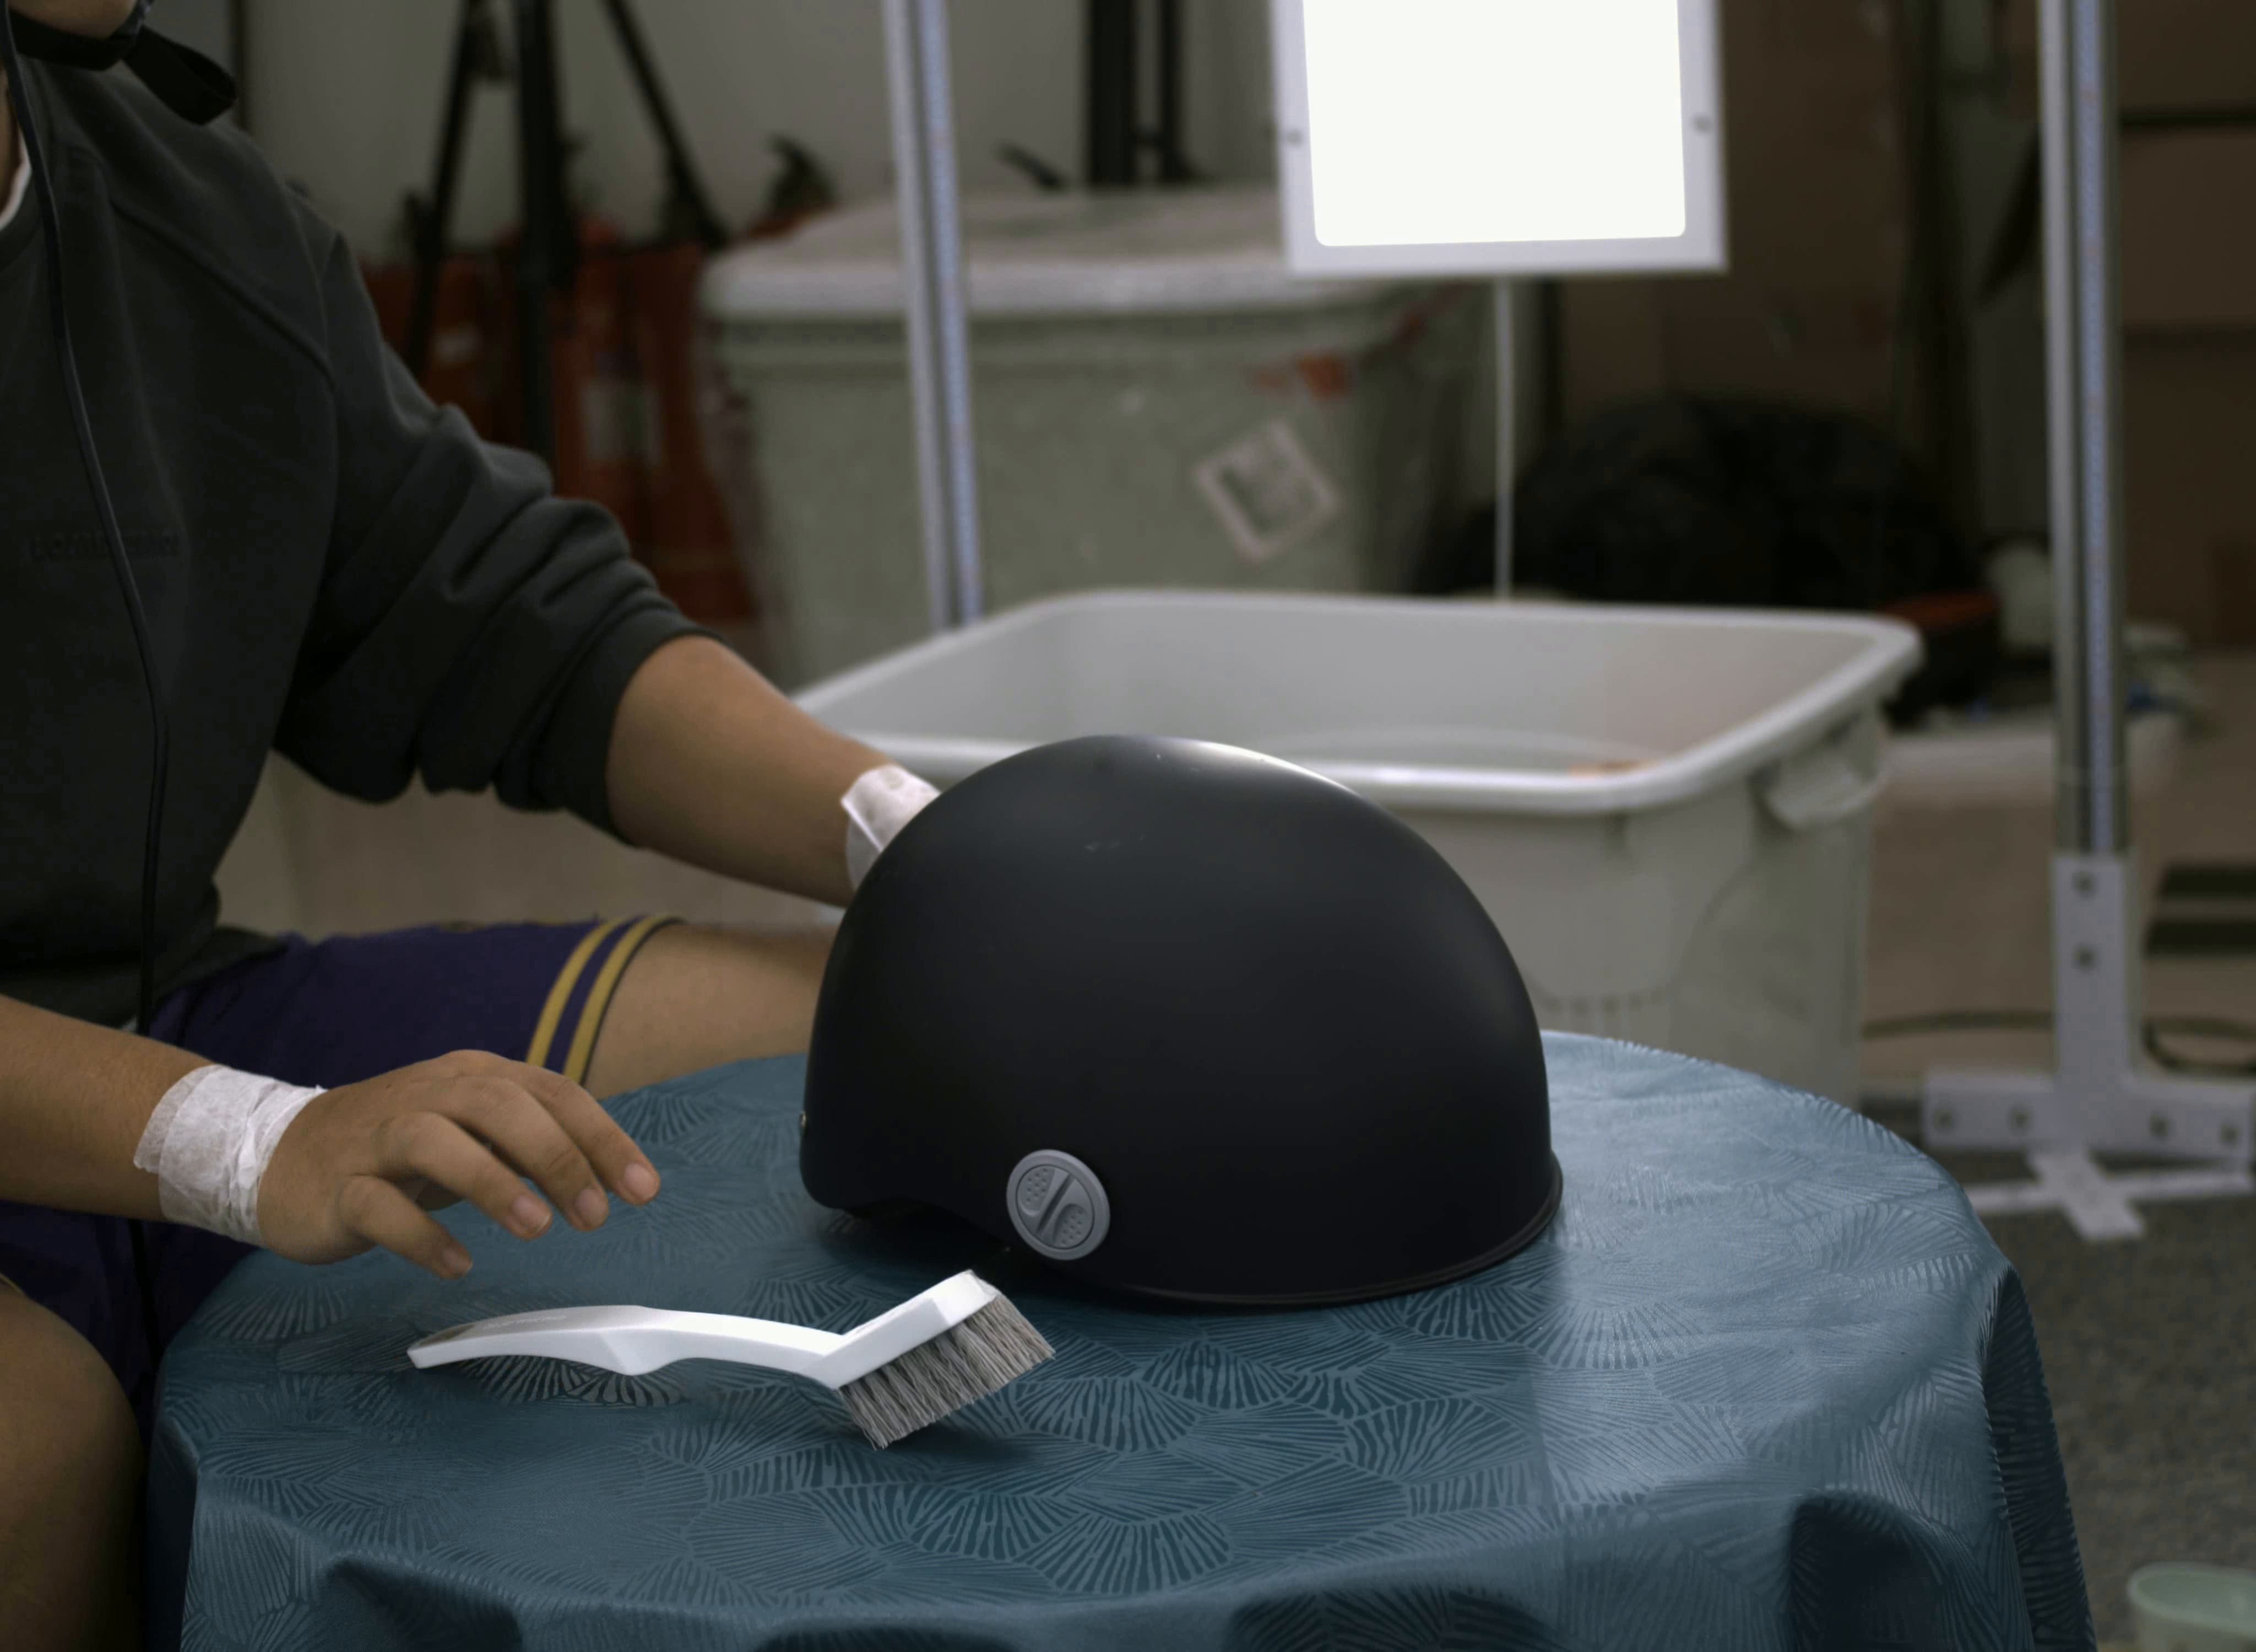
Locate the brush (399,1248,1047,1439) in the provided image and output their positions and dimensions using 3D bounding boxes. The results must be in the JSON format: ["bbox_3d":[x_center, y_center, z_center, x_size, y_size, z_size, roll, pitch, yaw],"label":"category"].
[{"bbox_3d":[-0.129,0.171,1.716,0.249,0.050,0.033,-12,11,37],"label":"brush"}]

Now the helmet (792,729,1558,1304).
[{"bbox_3d":[0.013,0.054,1.855,0.279,0.167,0.224,11,24,43],"label":"helmet"}]
